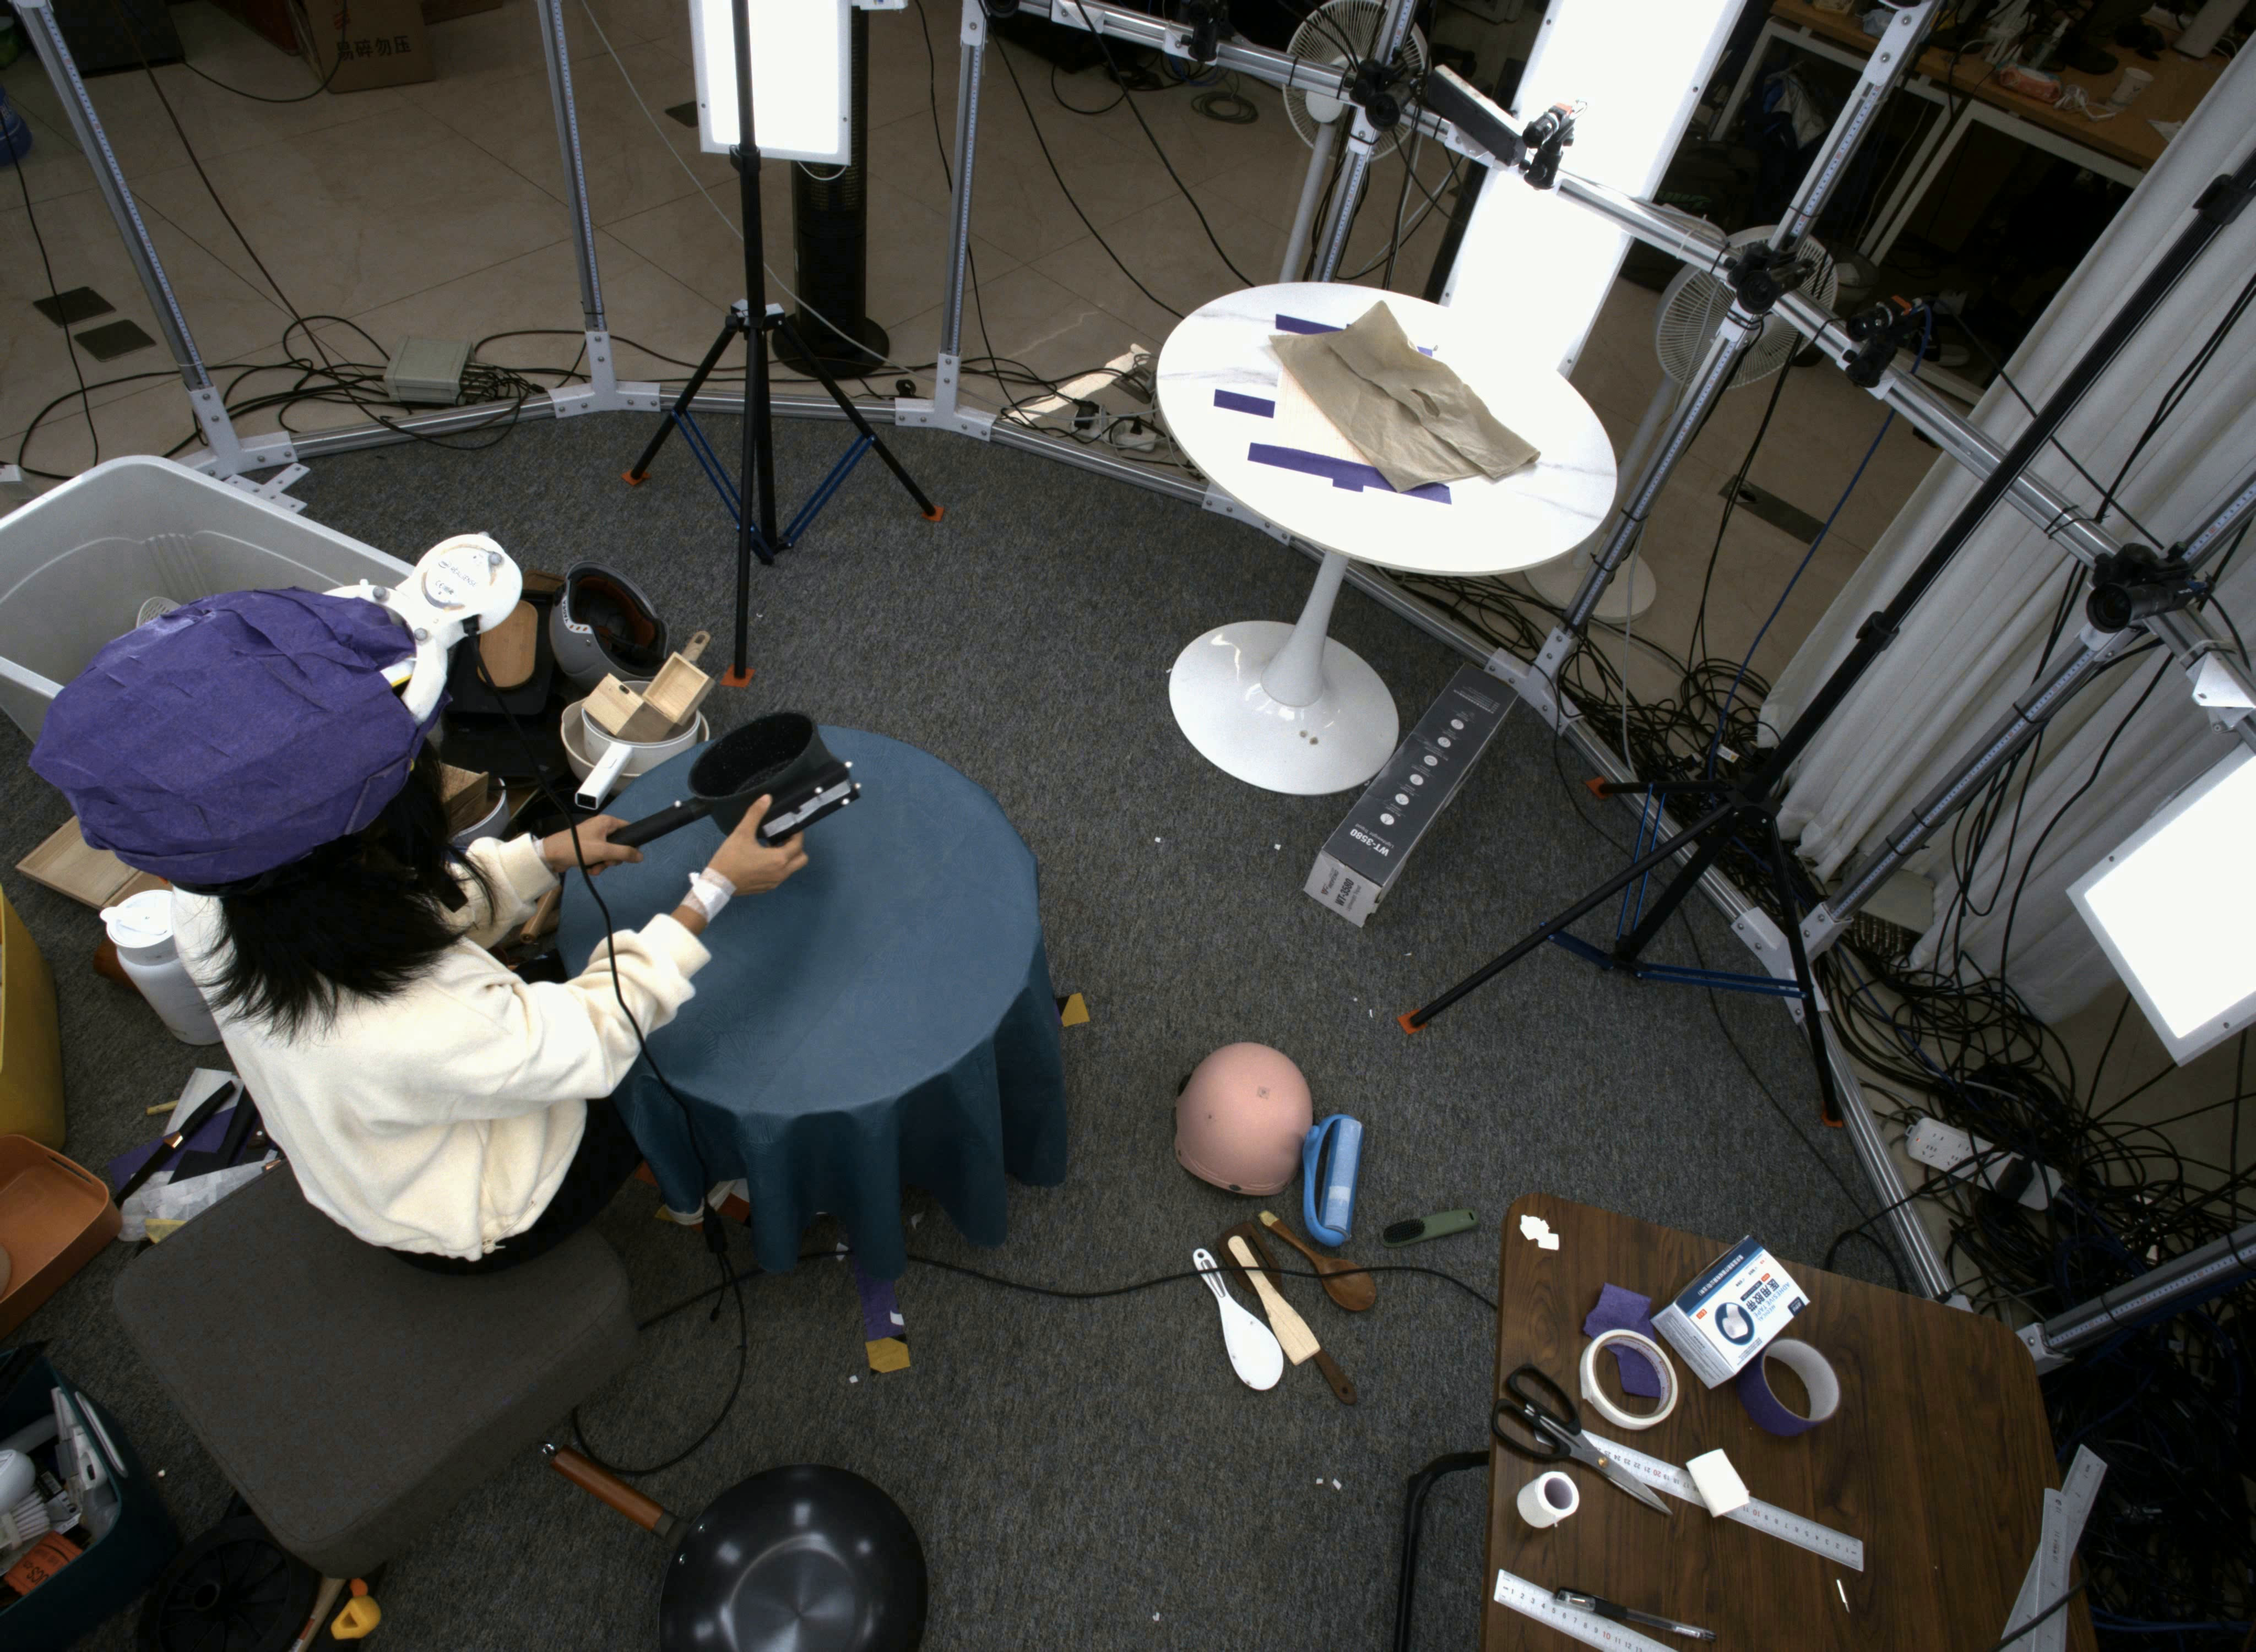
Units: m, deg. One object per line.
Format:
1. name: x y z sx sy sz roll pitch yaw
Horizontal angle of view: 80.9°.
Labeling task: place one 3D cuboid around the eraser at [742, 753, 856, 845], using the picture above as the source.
1. eraser: -0.387 -0.034 1.523 0.125 0.055 0.029 -32 41 -18

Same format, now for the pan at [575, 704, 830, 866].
1. pan: -0.512 -0.026 1.562 0.328 0.090 0.165 -33 38 -17
